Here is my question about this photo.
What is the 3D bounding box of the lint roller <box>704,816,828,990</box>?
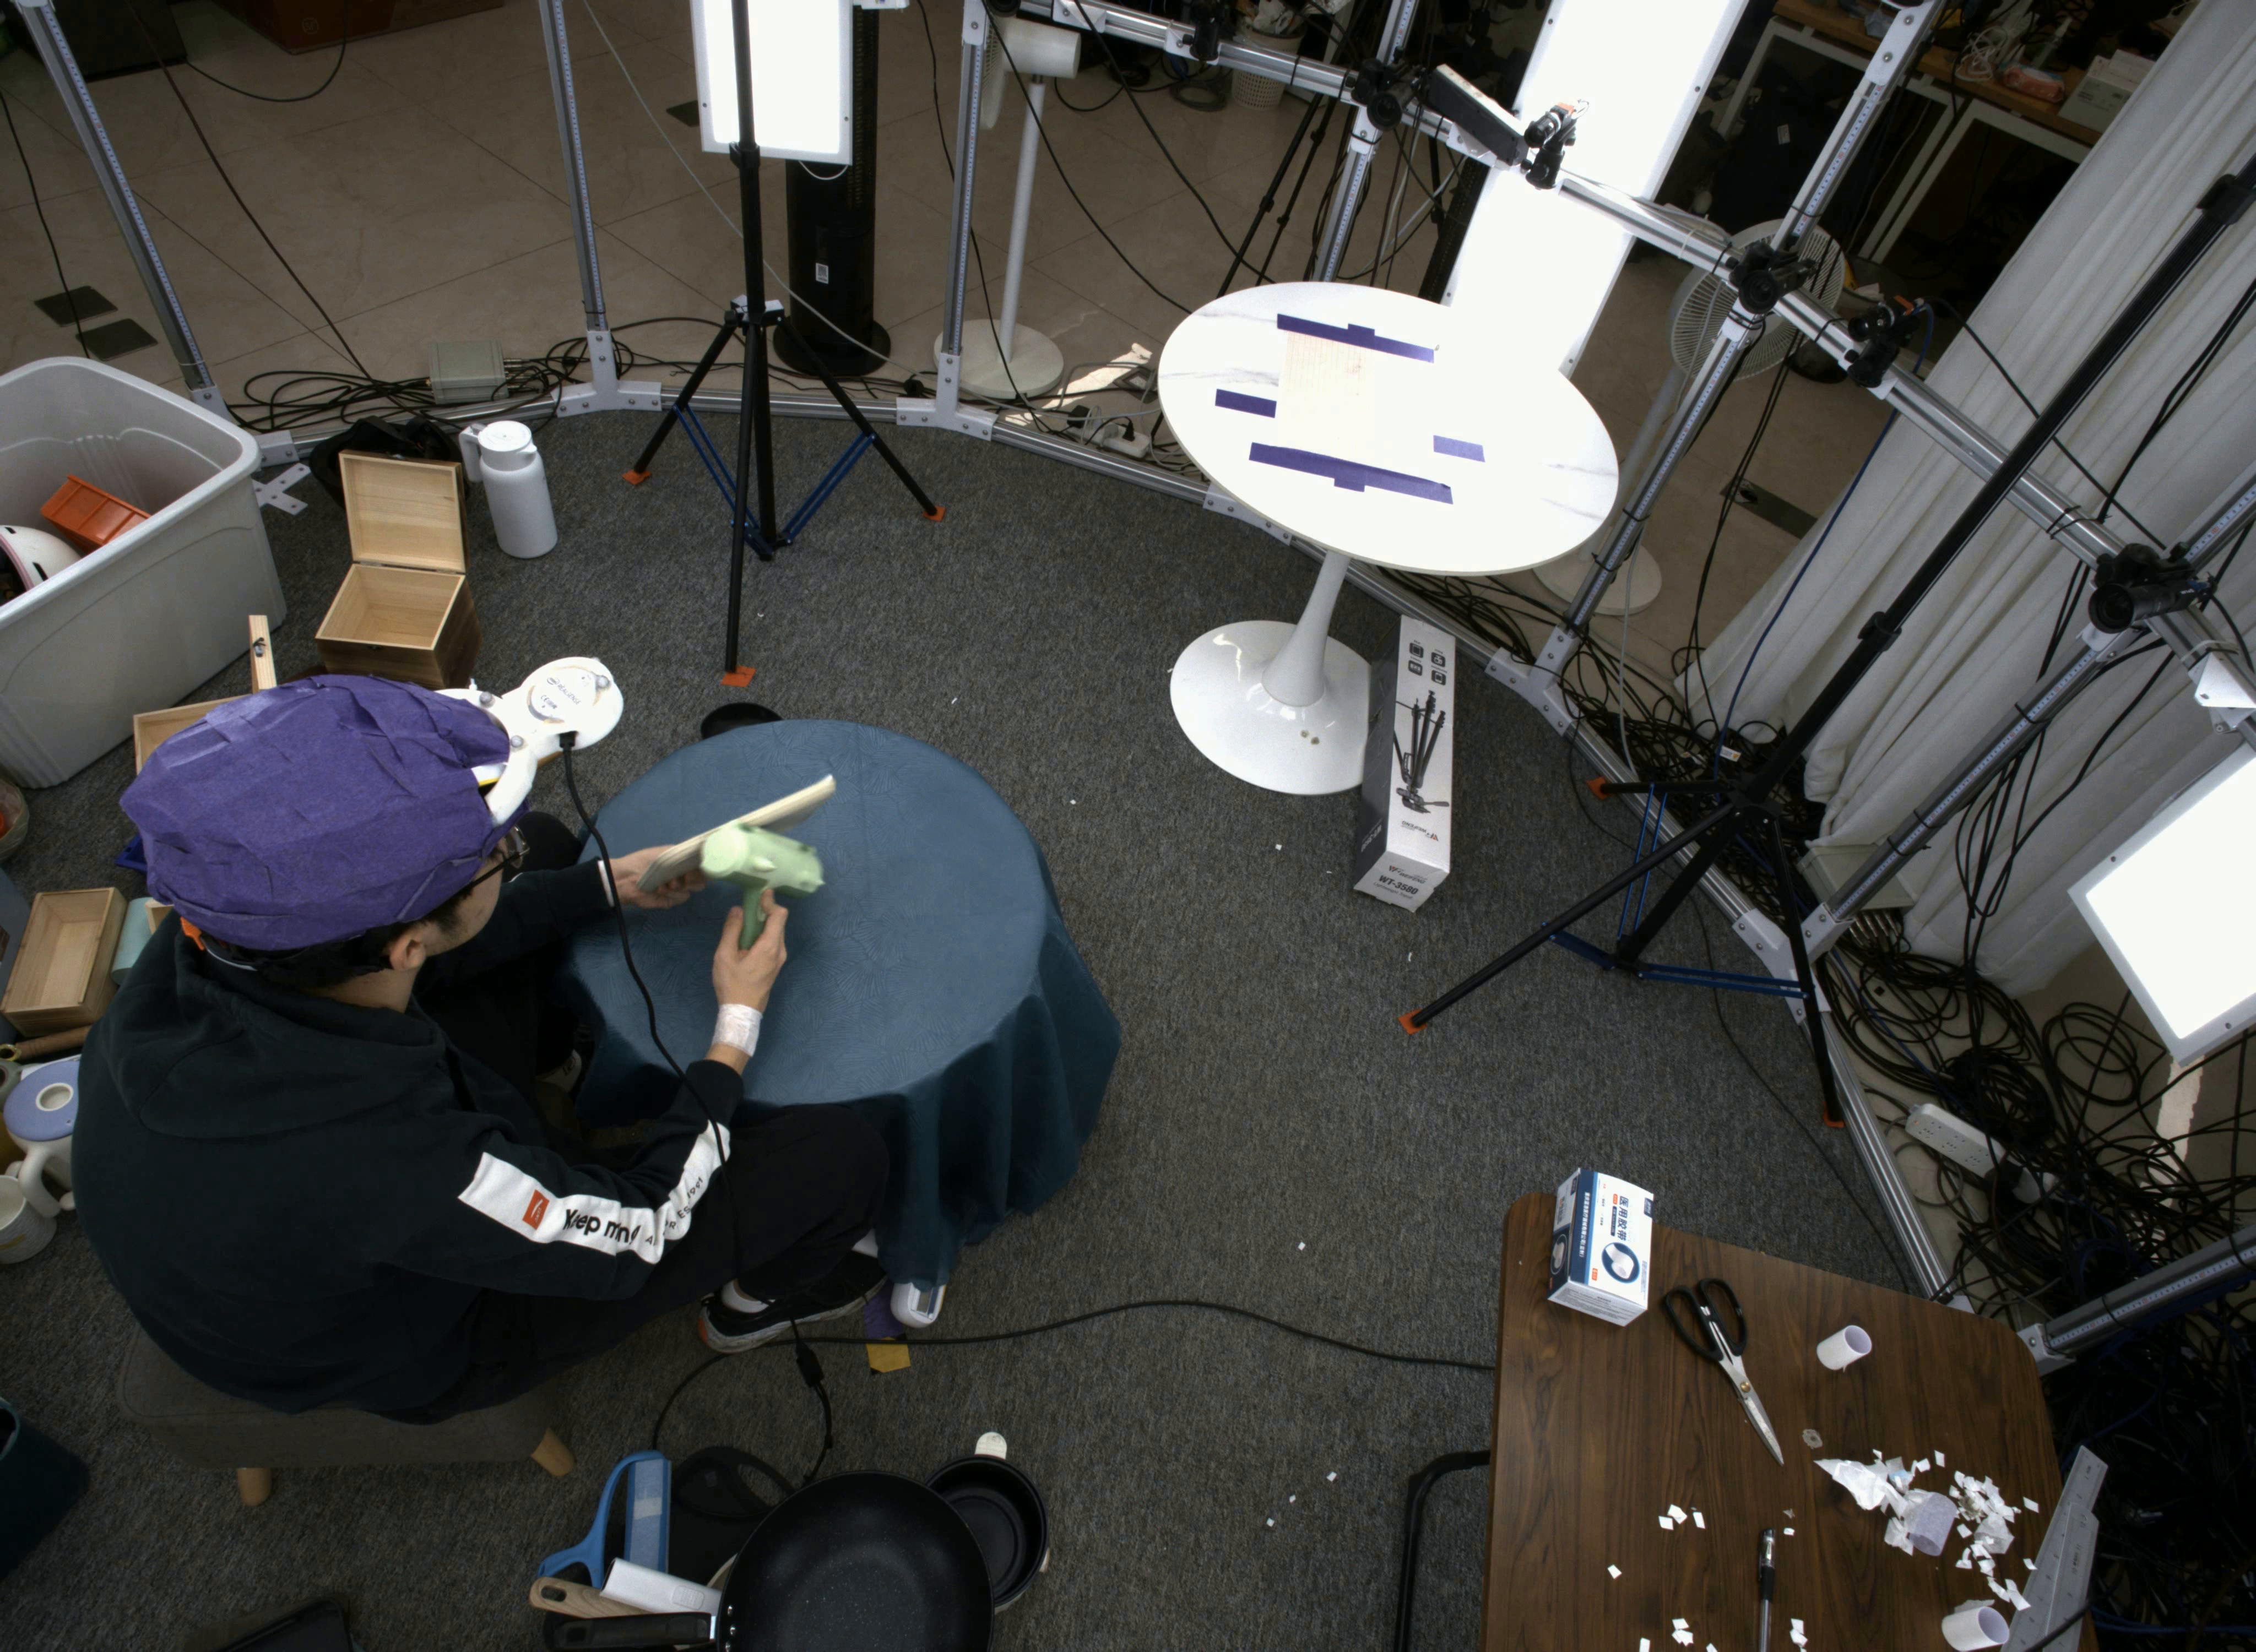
[{"bbox_3d":[-0.418,0.097,1.499,0.080,0.202,0.184,2,80,15],"label":"lint roller"}]

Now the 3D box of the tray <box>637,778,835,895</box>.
[{"bbox_3d":[-0.467,0.014,1.545,0.241,0.169,0.017,-28,87,-35],"label":"tray"}]
